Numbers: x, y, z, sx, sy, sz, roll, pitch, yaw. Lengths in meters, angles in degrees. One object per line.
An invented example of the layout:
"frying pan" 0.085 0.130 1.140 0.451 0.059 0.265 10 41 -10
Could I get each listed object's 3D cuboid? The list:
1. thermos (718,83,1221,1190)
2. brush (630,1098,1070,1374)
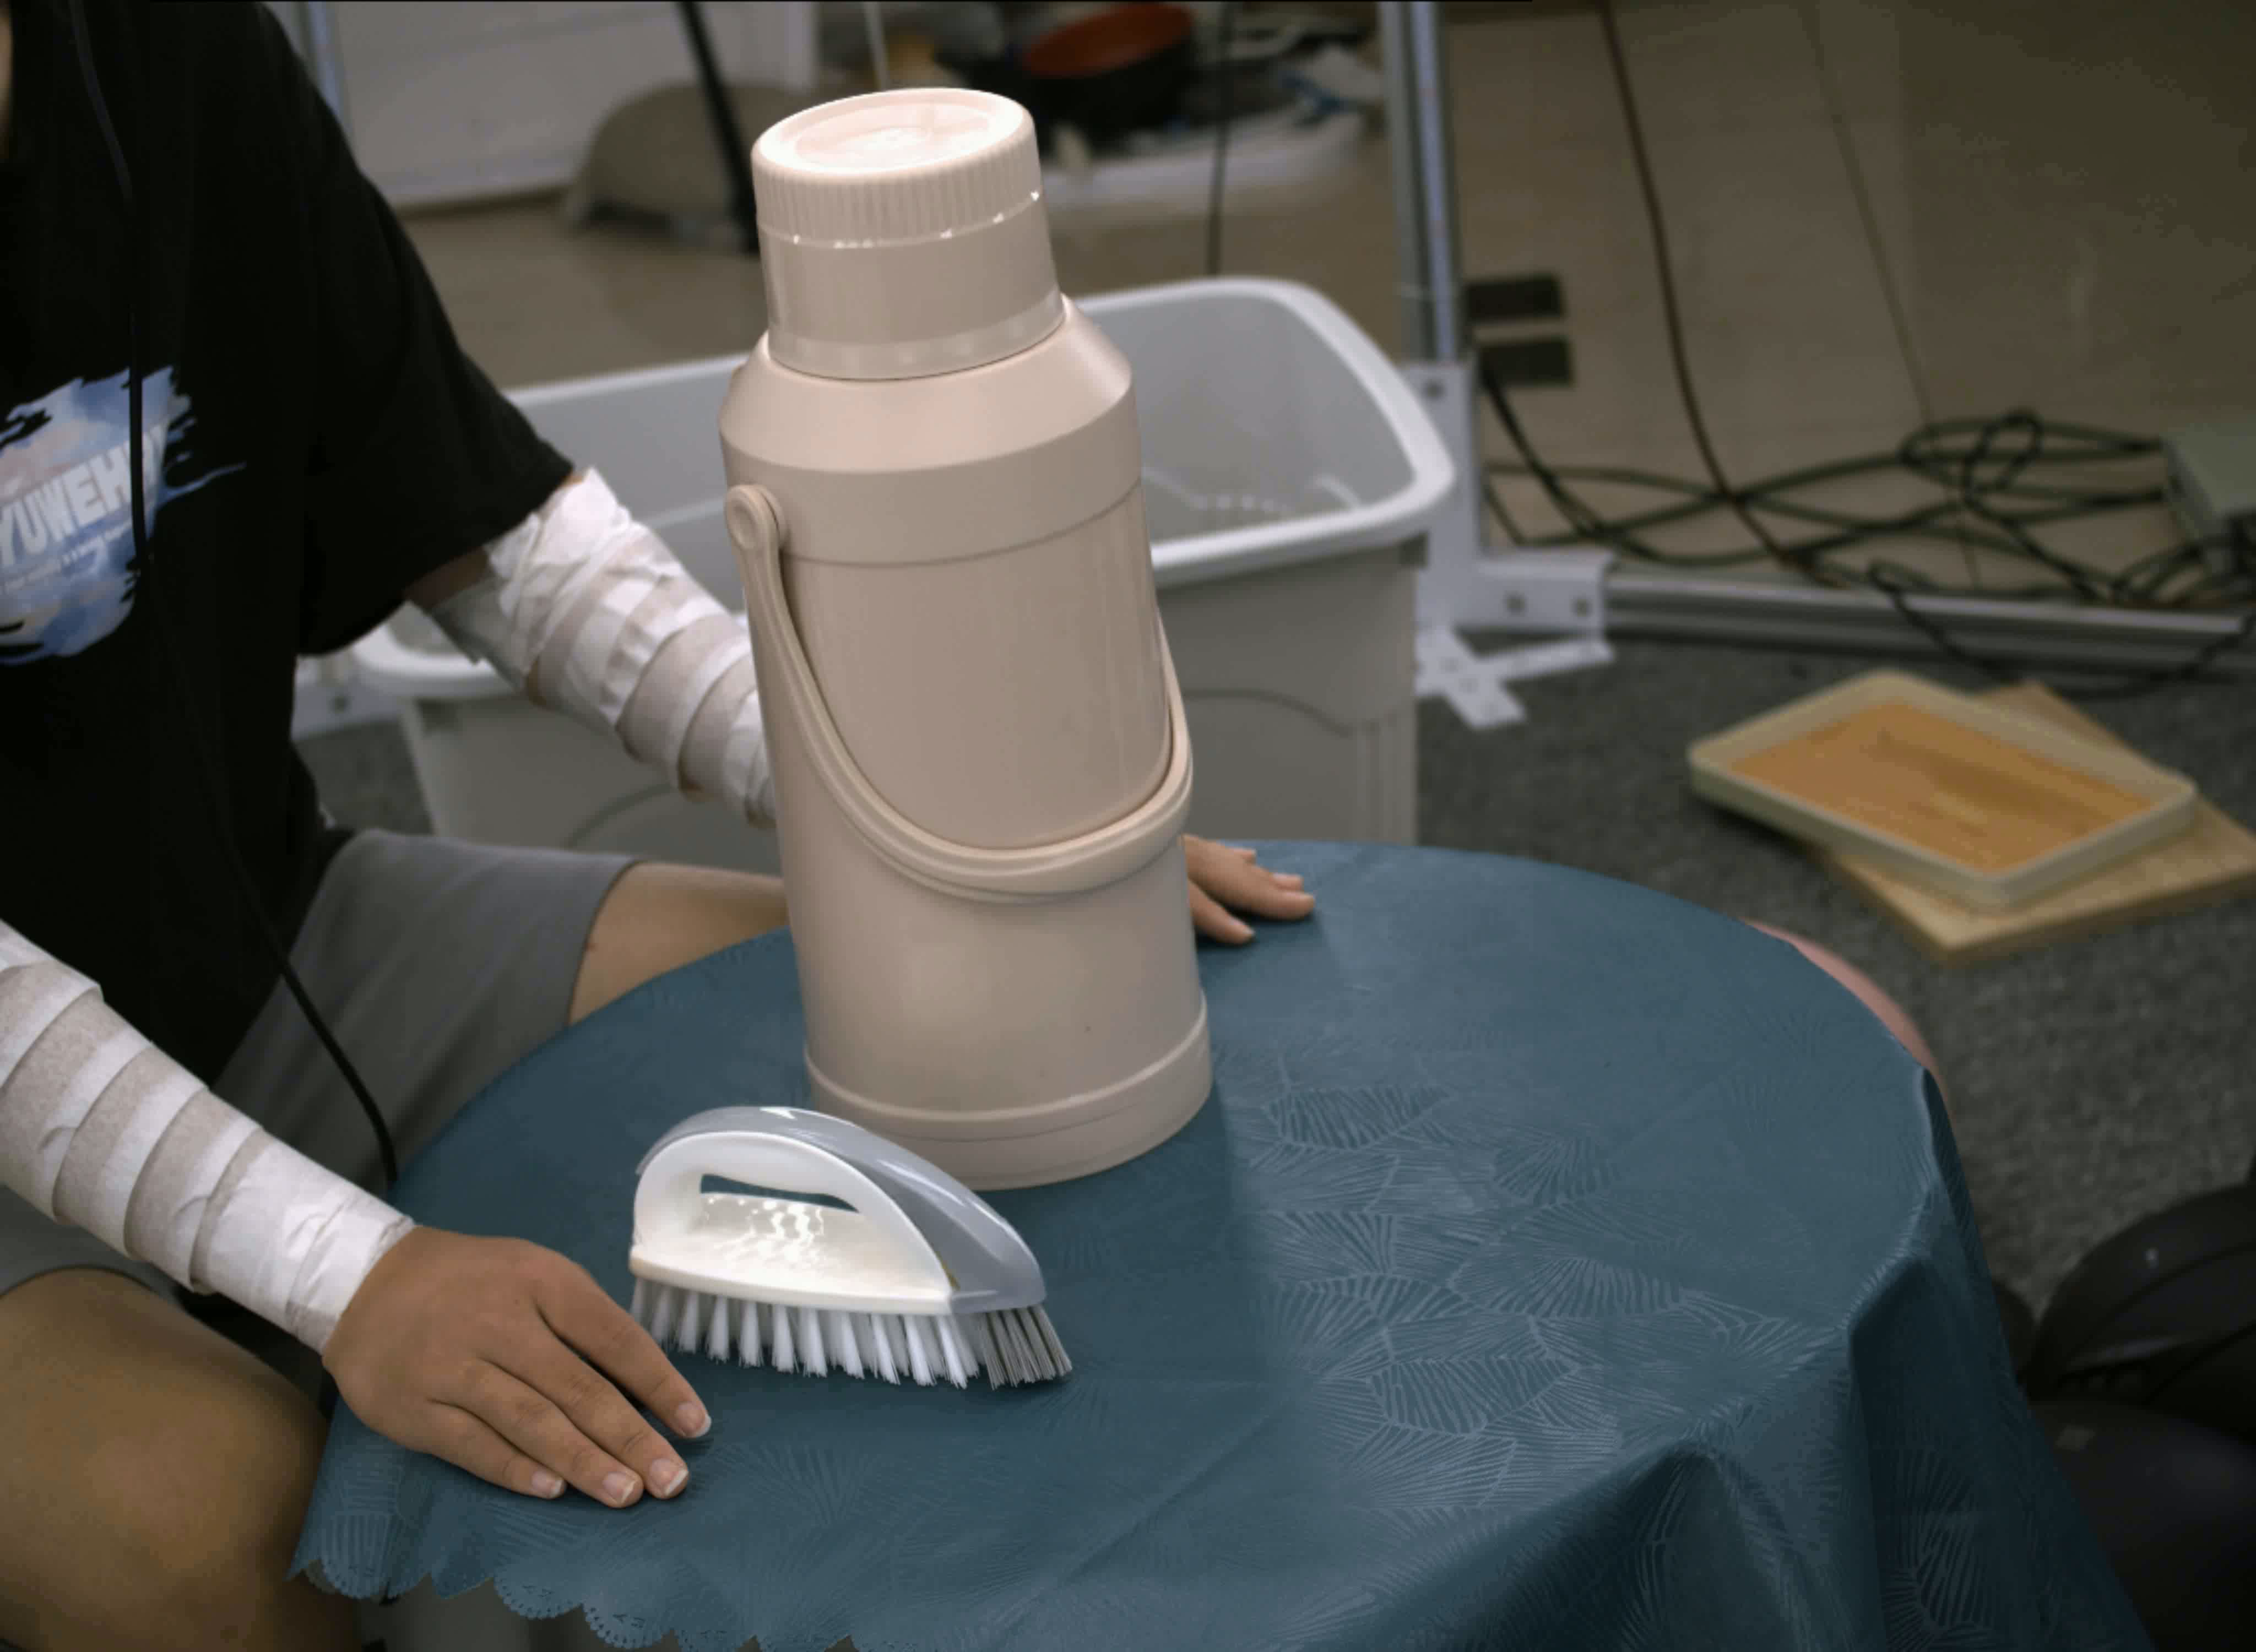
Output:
"thermos" -0.072 -0.077 2.153 0.174 0.413 0.205 -26 31 -32
"brush" -0.103 0.145 2.049 0.175 0.096 0.060 10 35 28
